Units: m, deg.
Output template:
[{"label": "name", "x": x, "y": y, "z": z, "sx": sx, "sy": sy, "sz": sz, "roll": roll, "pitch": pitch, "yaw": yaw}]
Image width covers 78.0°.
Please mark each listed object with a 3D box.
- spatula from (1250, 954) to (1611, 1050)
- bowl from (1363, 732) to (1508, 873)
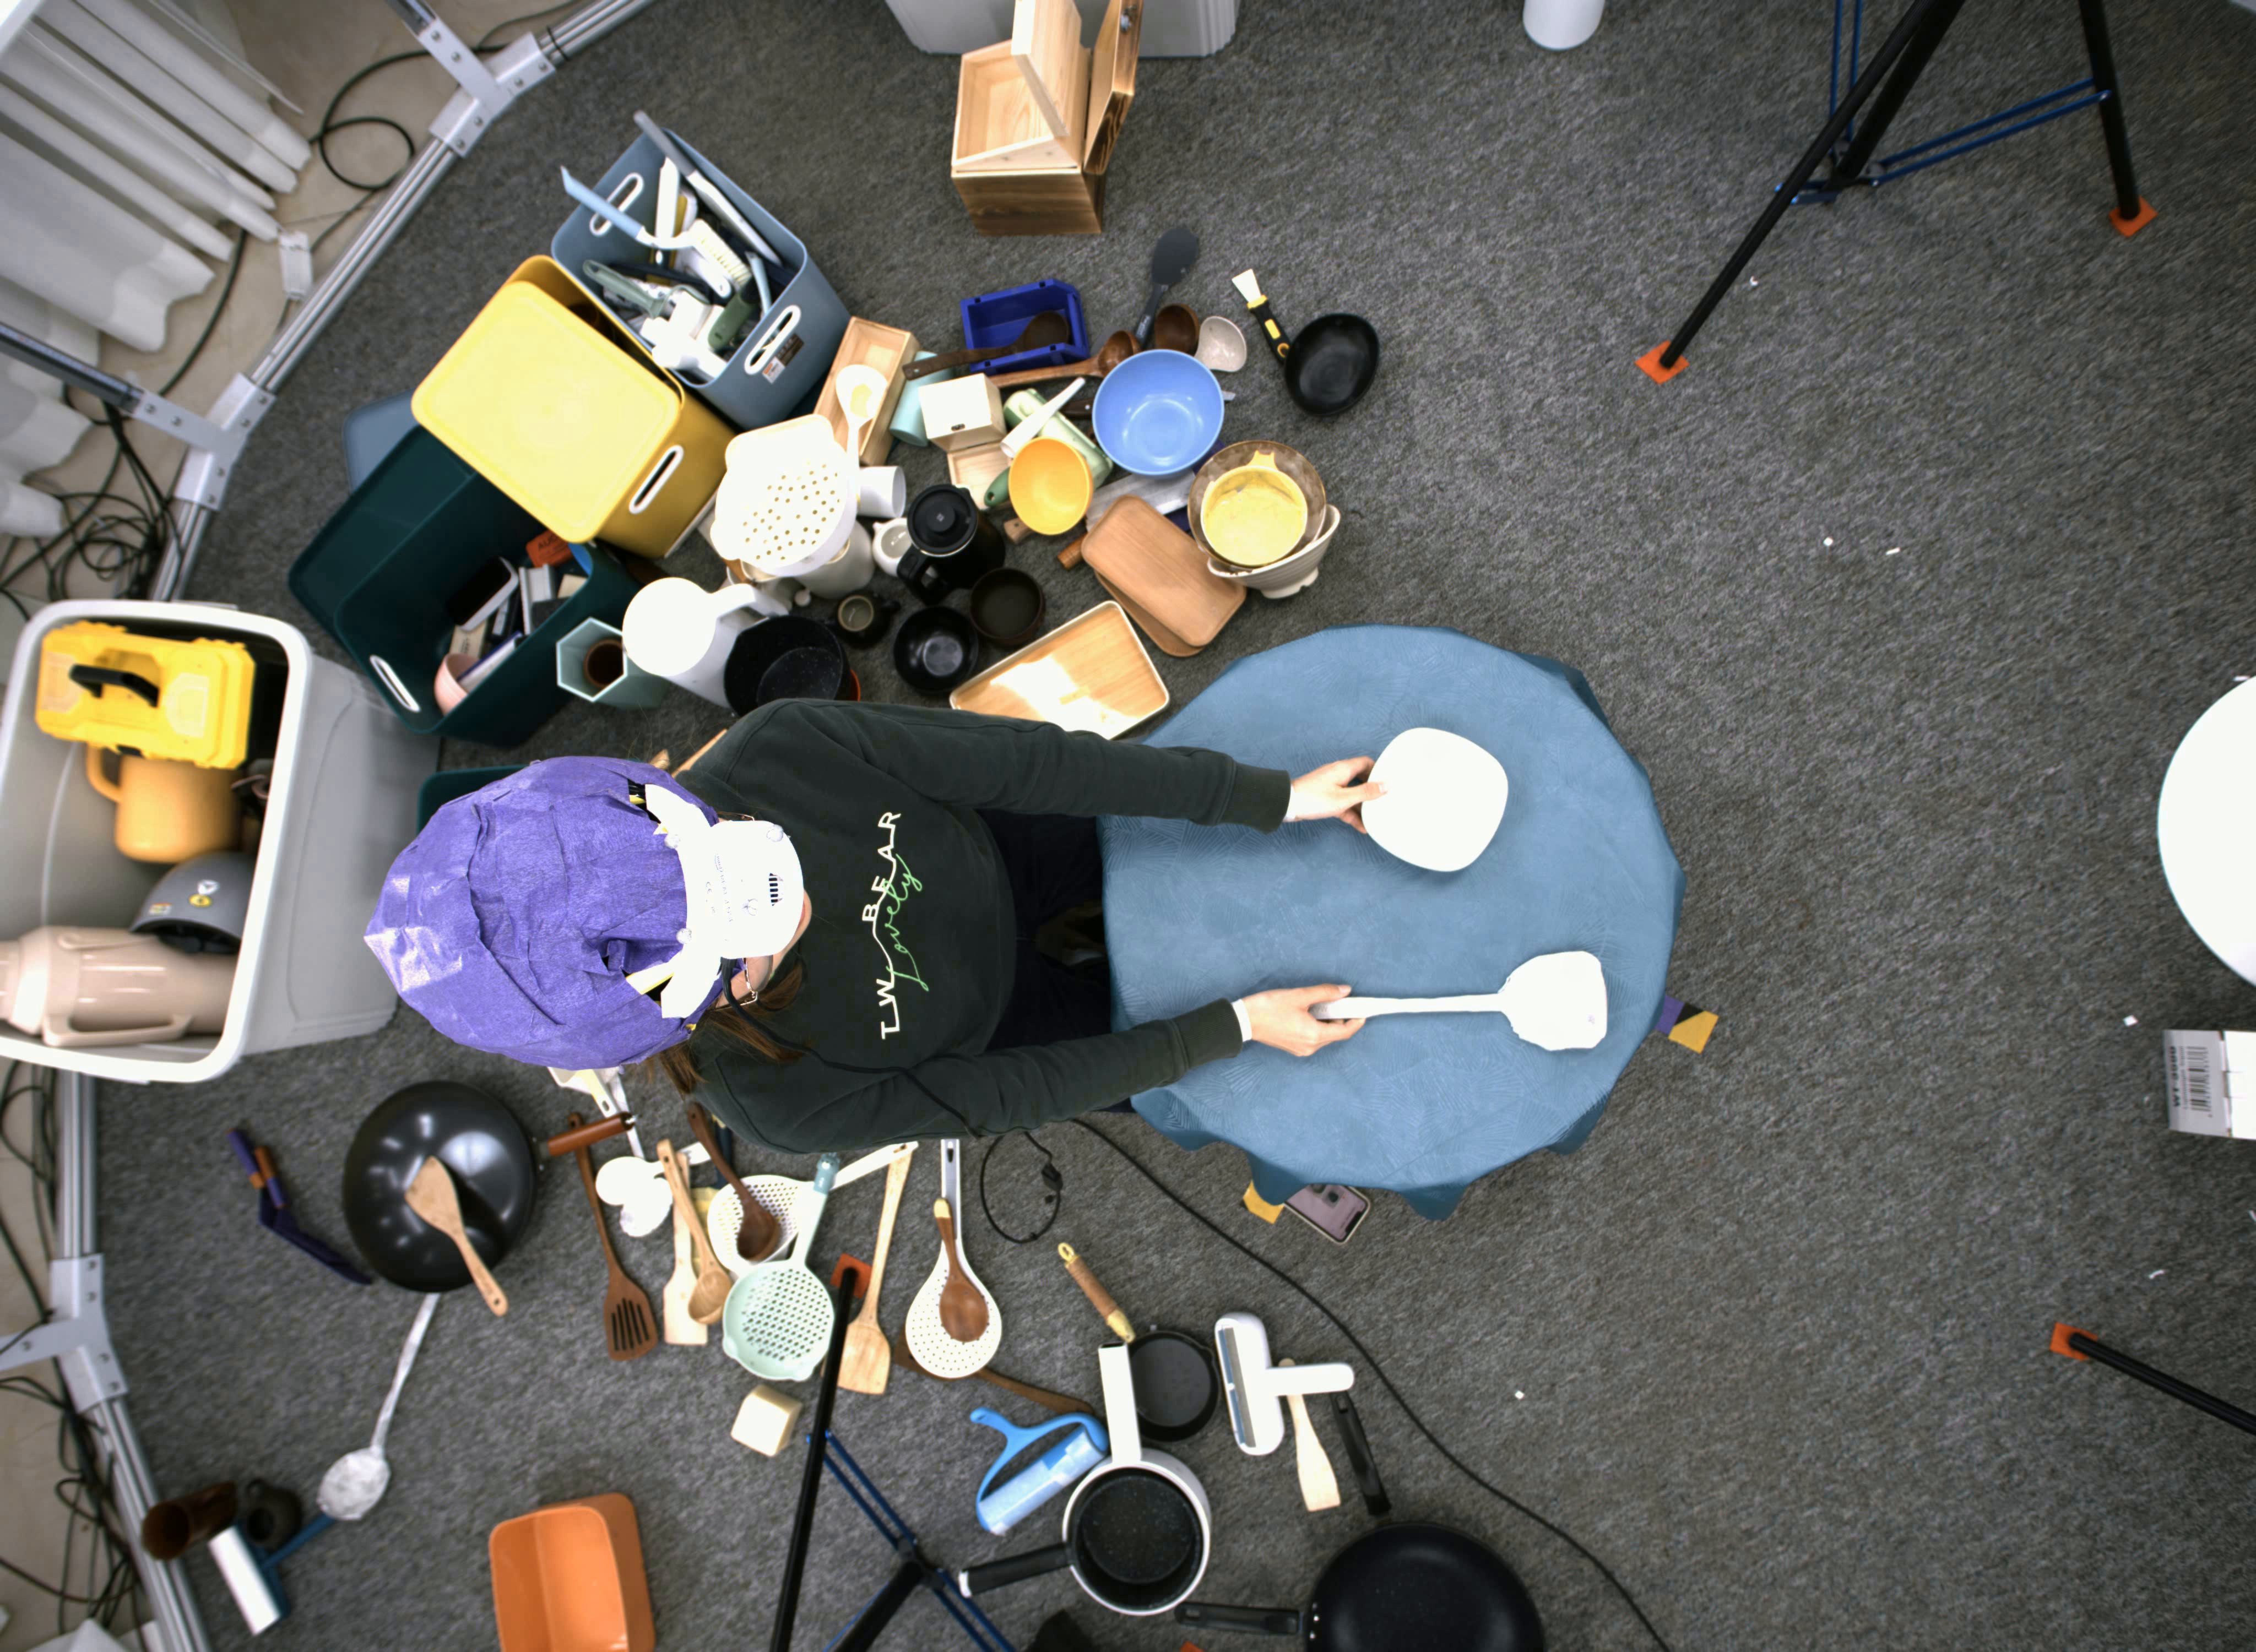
[{"label": "spatula", "x": 0.308, "y": 0.181, "z": 1.427, "sx": 0.366, "sy": 0.045, "sz": 0.098, "roll": -2, "pitch": 86, "yaw": 8}, {"label": "bowl", "x": 0.318, "y": -0.022, "z": 1.434, "sx": 0.152, "sy": 0.059, "sz": 0.150, "roll": -1, "pitch": 84, "yaw": 8}]
